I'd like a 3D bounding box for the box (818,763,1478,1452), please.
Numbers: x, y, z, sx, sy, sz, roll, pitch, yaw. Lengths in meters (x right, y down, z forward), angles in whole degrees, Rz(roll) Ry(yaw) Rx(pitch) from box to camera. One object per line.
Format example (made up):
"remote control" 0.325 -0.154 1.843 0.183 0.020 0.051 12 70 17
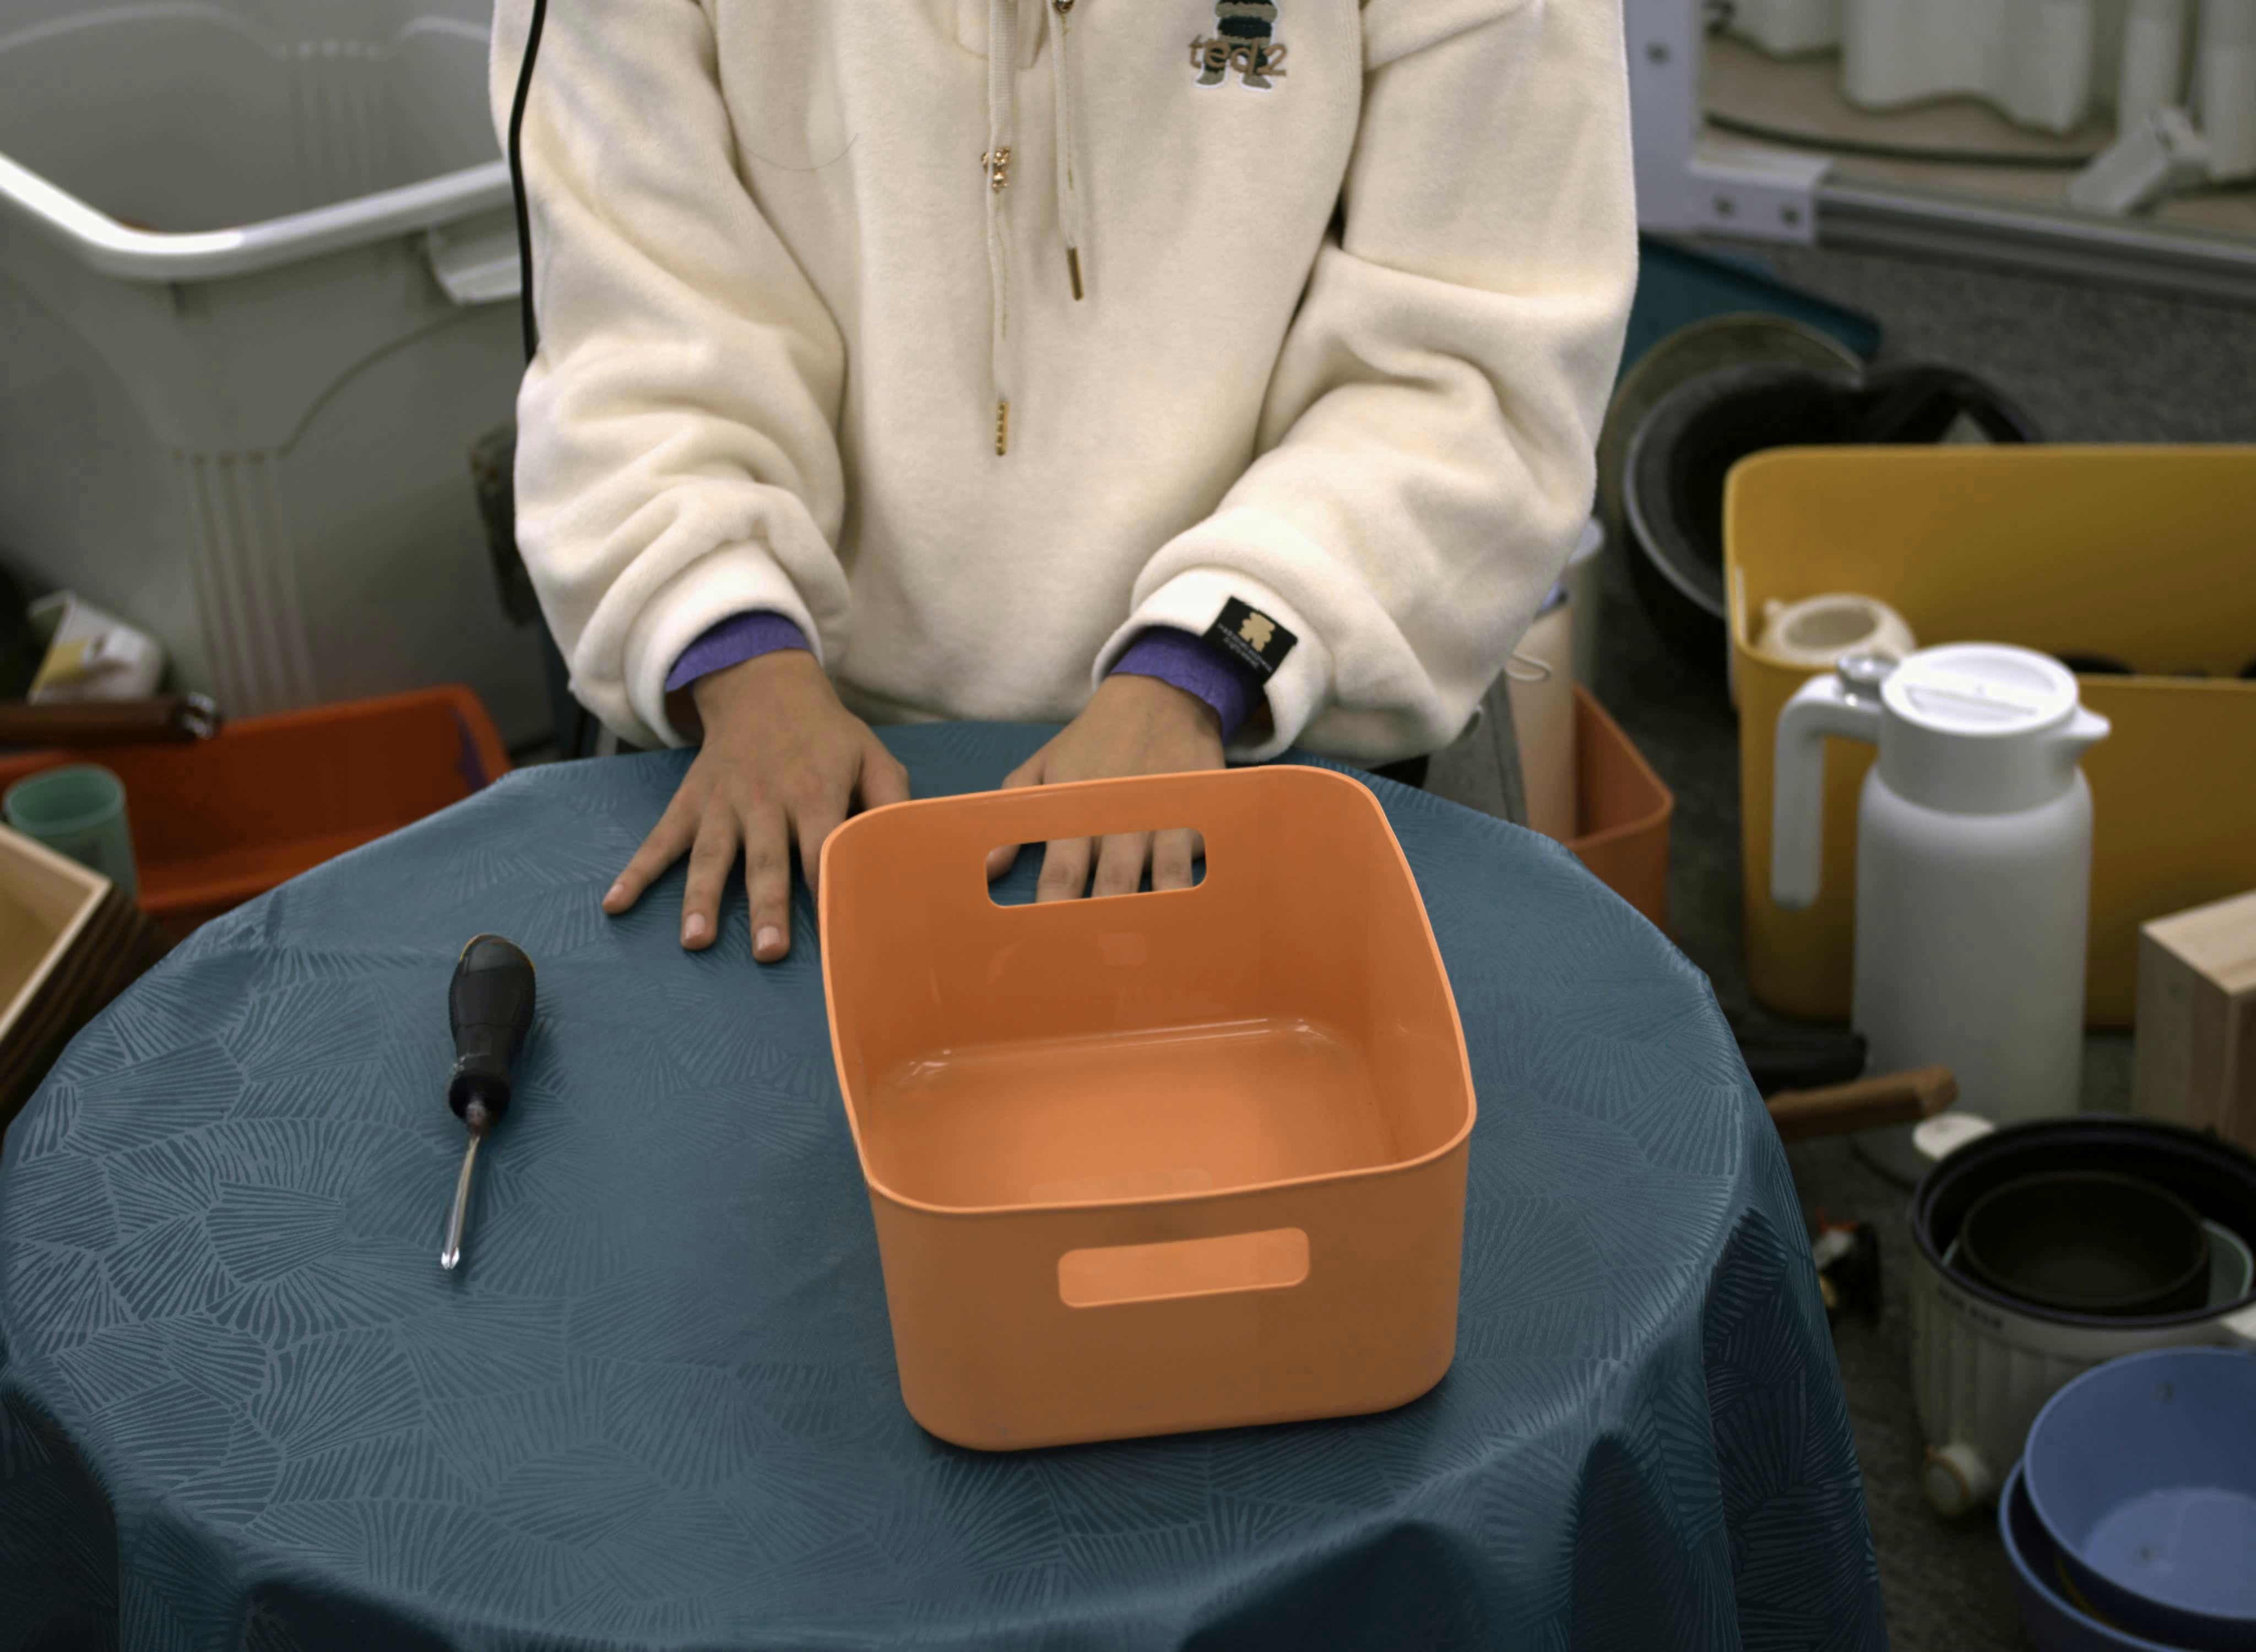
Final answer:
"box" 0.005 0.089 1.811 0.199 0.101 0.277 -6 28 -4

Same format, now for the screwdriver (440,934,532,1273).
"screwdriver" -0.226 0.097 1.911 0.031 0.031 0.199 -1 31 3
